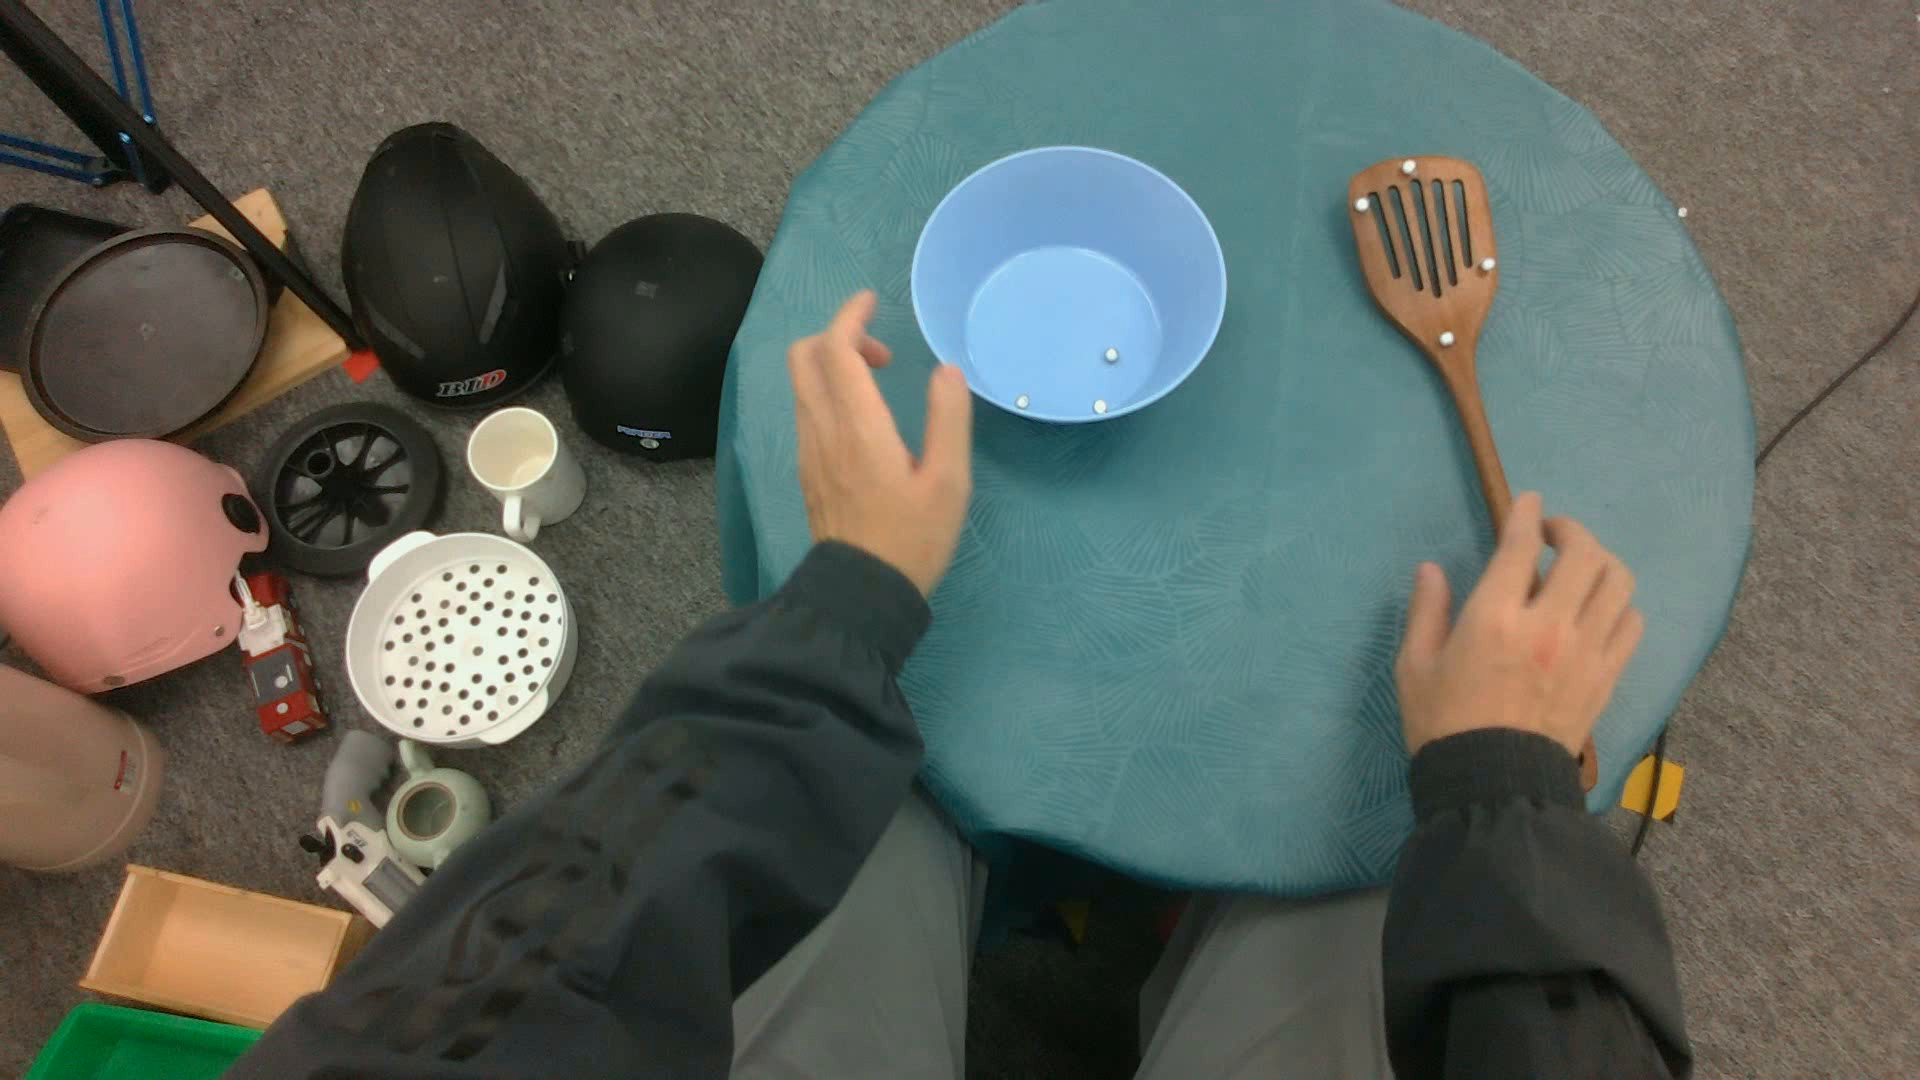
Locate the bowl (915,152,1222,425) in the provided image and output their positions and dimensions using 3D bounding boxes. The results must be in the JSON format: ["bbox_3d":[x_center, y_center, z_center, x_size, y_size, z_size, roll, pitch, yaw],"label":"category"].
[{"bbox_3d":[0.062,-0.136,0.811,0.176,0.070,0.176,0,70,1],"label":"bowl"}]

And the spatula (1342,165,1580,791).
[{"bbox_3d":[0.298,-0.047,0.798,0.085,0.024,0.388,-7,70,0],"label":"spatula"}]
